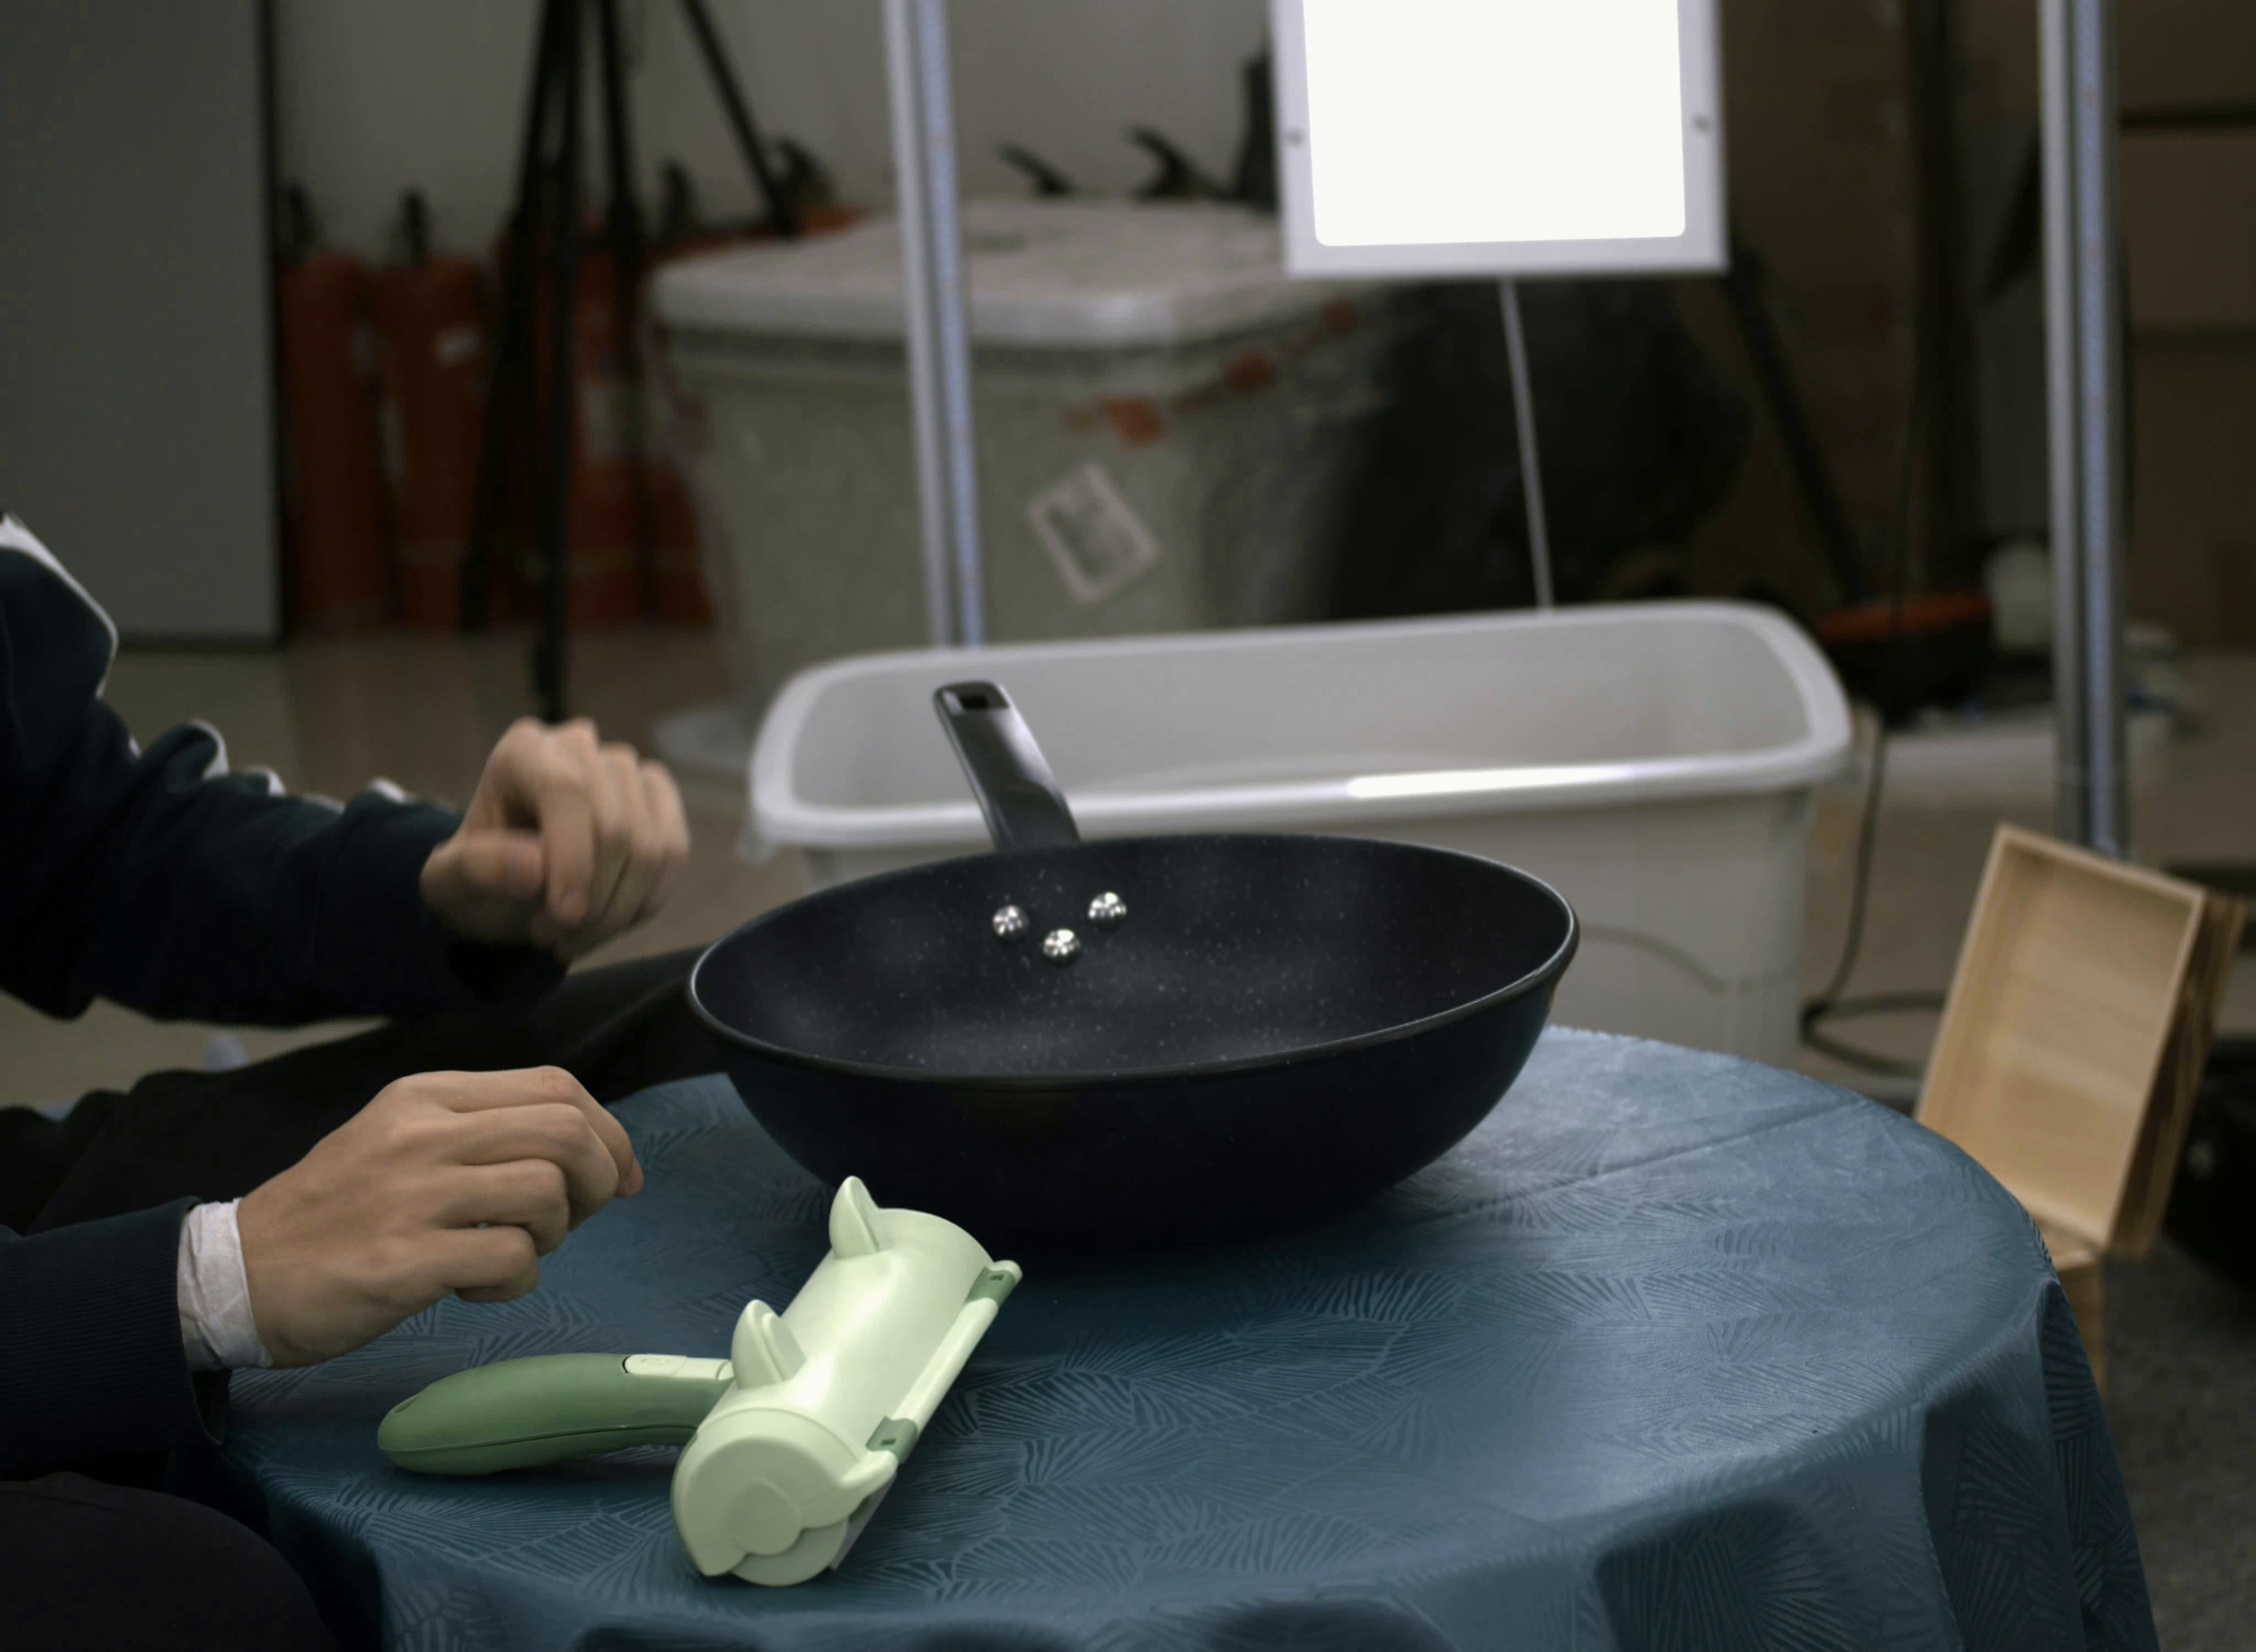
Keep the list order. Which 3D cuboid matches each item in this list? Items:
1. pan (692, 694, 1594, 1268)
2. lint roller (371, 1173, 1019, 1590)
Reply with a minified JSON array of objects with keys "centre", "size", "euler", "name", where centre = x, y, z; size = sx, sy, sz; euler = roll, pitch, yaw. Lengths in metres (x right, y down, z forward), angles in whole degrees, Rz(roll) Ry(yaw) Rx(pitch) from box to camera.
[{"centre":[-0.011,0.055,1.967],"size":[0.307,0.112,0.480],"euler":[-6,14,-10],"name":"pan"},{"centre":[-0.140,0.158,1.658],"size":[0.184,0.082,0.196],"euler":[4,15,12],"name":"lint roller"}]
